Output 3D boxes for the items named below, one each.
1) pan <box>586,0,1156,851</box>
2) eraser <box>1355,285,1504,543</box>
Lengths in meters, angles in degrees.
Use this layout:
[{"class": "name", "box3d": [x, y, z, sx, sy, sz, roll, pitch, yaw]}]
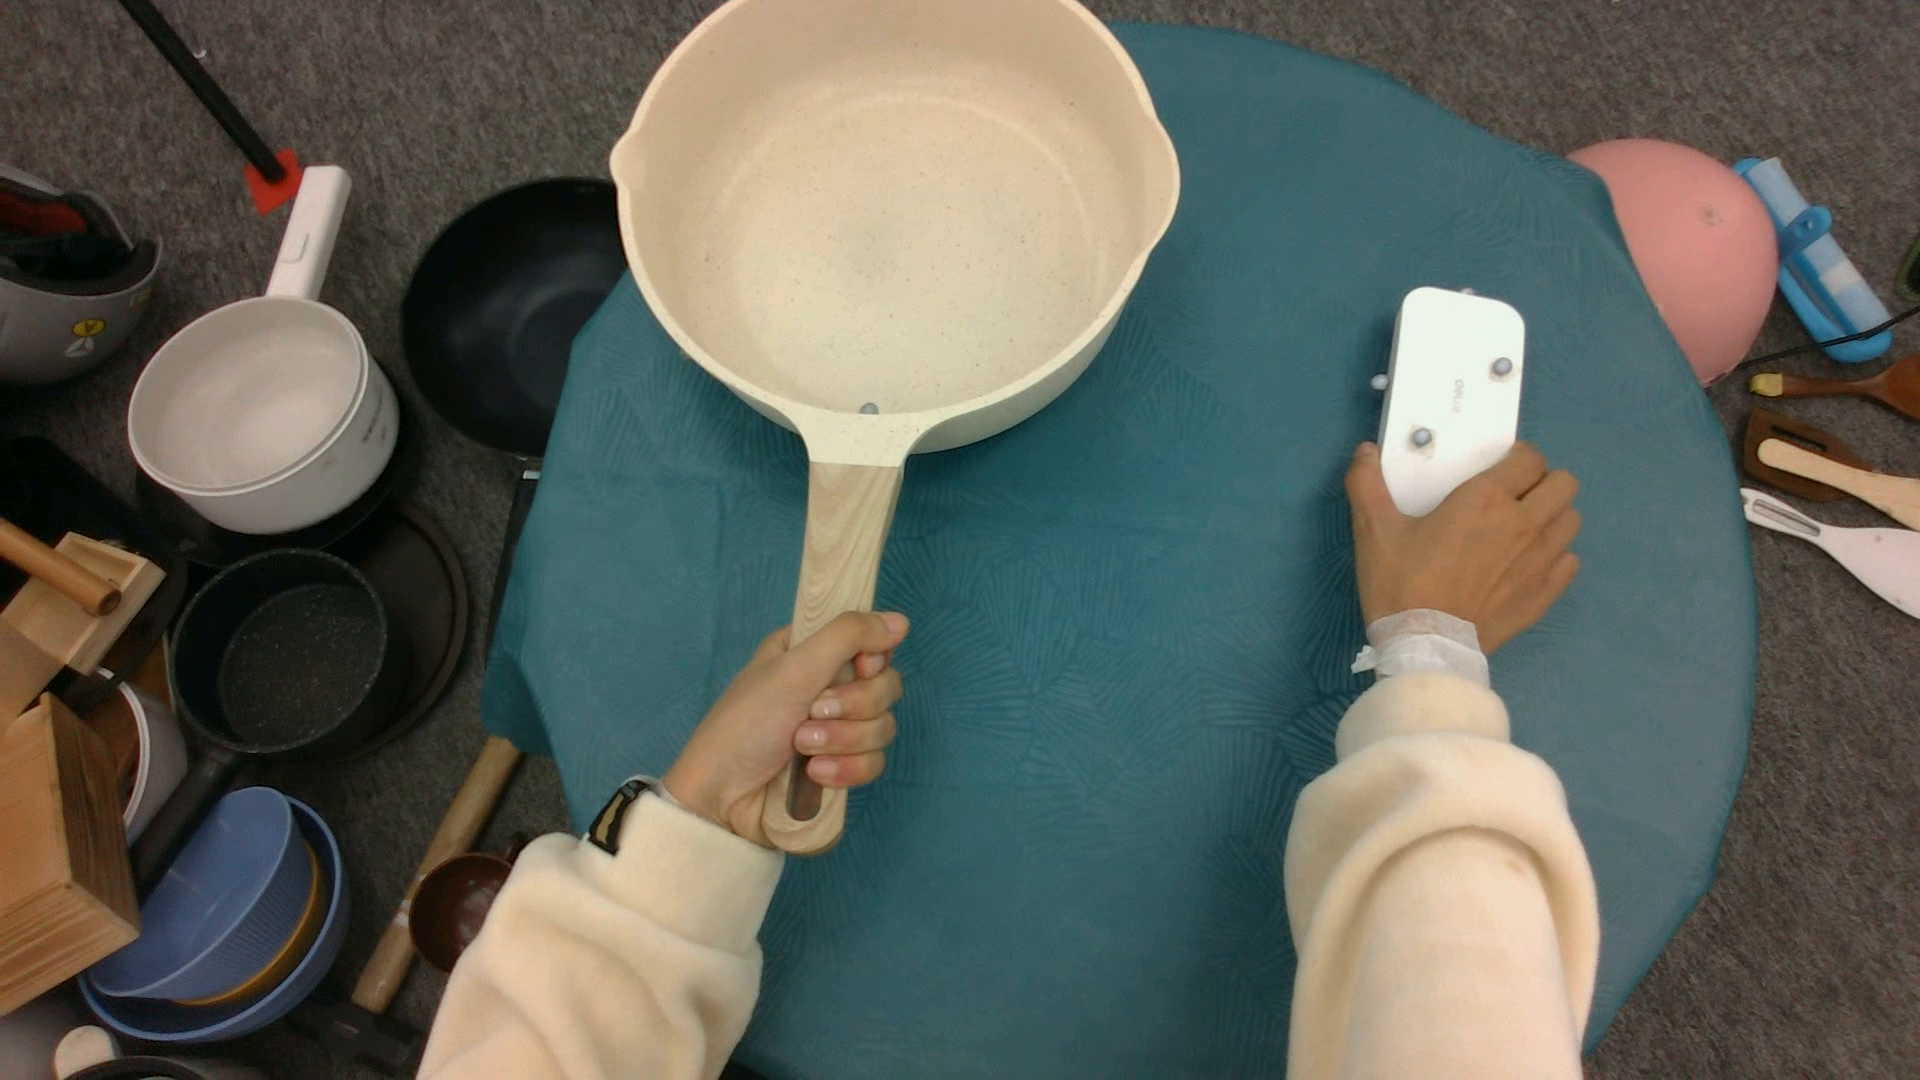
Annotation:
[{"class": "pan", "box3d": [-0.048, -0.075, 0.633, 0.263, 0.101, 0.436, 4, 72, 3]}, {"class": "eraser", "box3d": [0.231, -0.064, 0.683, 0.063, 0.034, 0.131, 11, 72, 5]}]
